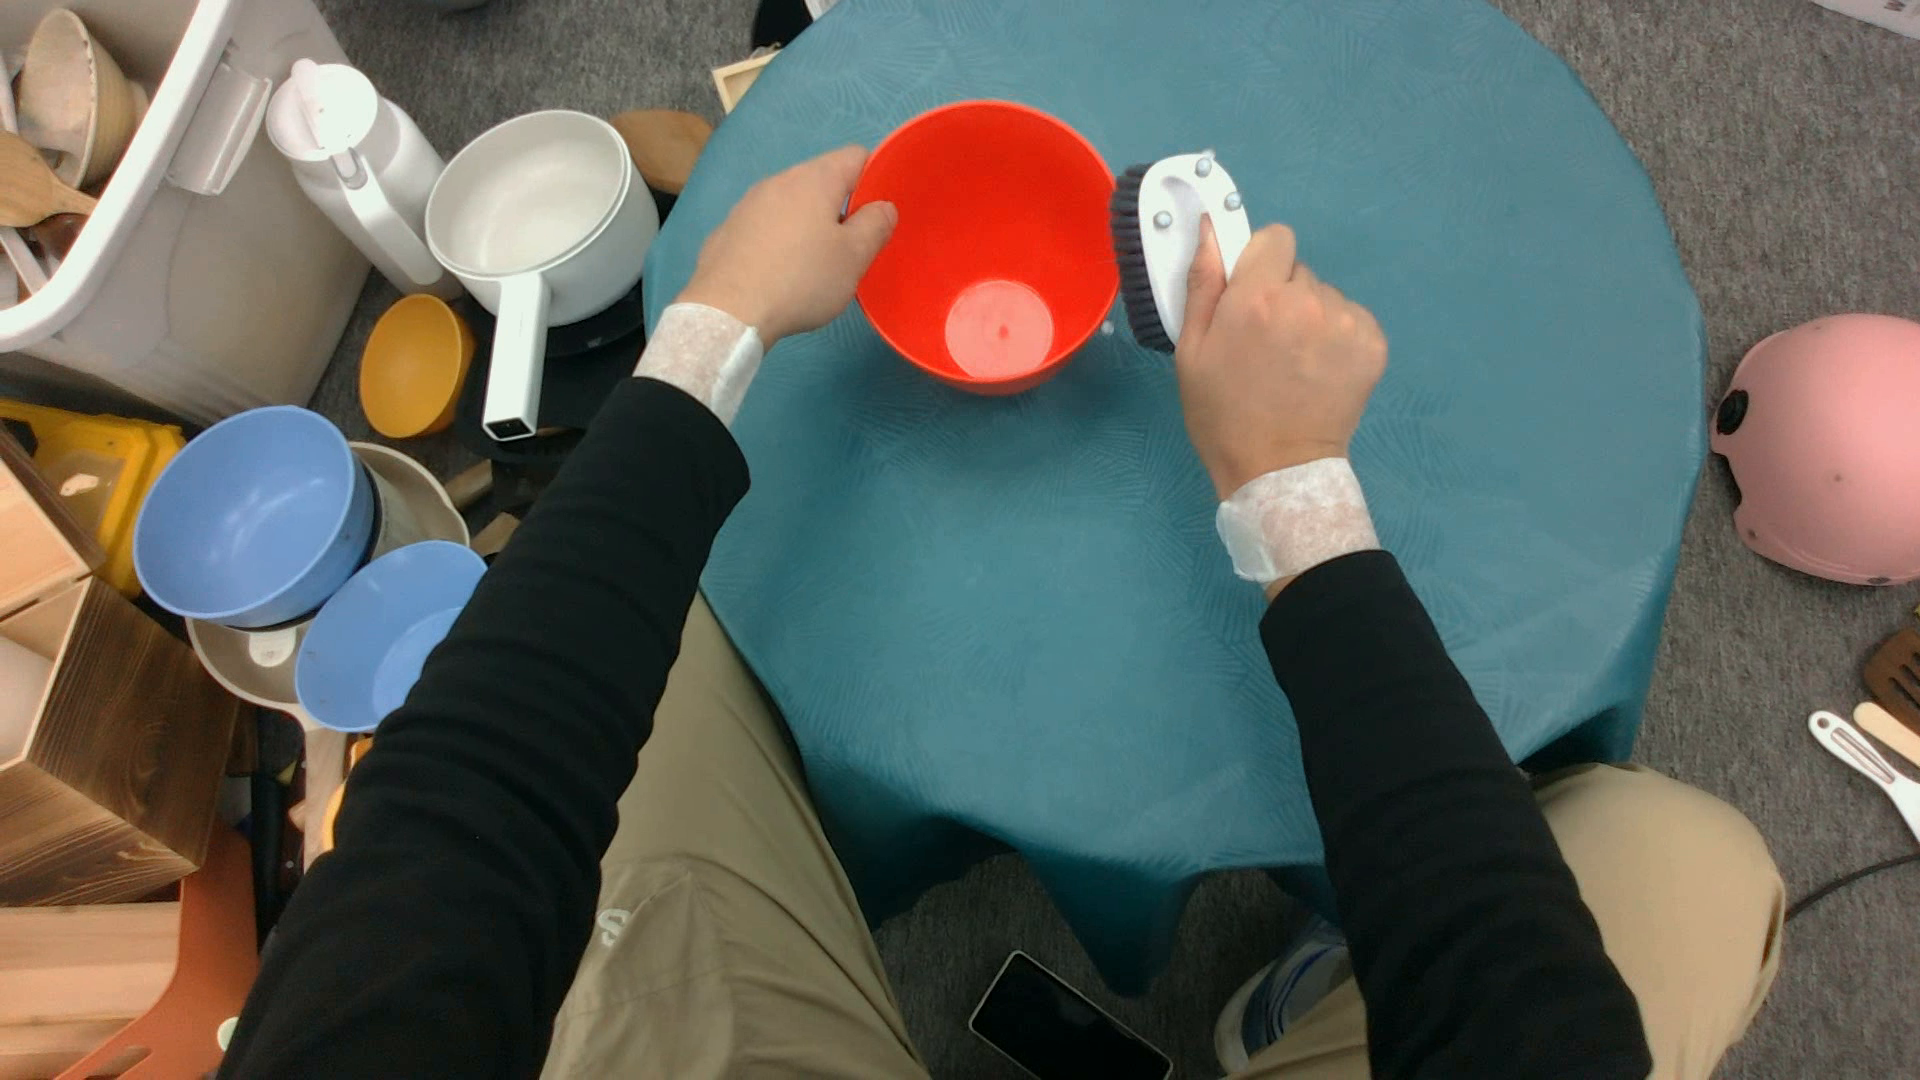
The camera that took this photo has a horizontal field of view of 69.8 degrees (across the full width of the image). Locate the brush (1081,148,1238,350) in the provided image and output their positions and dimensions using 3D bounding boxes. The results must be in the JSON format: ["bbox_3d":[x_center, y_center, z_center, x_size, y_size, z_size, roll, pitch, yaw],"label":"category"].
[{"bbox_3d":[0.104,-0.141,0.668,0.050,0.072,0.099,-22,108,-25],"label":"brush"}]

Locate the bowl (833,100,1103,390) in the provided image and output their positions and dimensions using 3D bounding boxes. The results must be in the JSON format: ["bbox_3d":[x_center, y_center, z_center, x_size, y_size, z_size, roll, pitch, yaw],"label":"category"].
[{"bbox_3d":[0.011,-0.146,0.751,0.148,0.104,0.148,-1,75,4],"label":"bowl"}]
